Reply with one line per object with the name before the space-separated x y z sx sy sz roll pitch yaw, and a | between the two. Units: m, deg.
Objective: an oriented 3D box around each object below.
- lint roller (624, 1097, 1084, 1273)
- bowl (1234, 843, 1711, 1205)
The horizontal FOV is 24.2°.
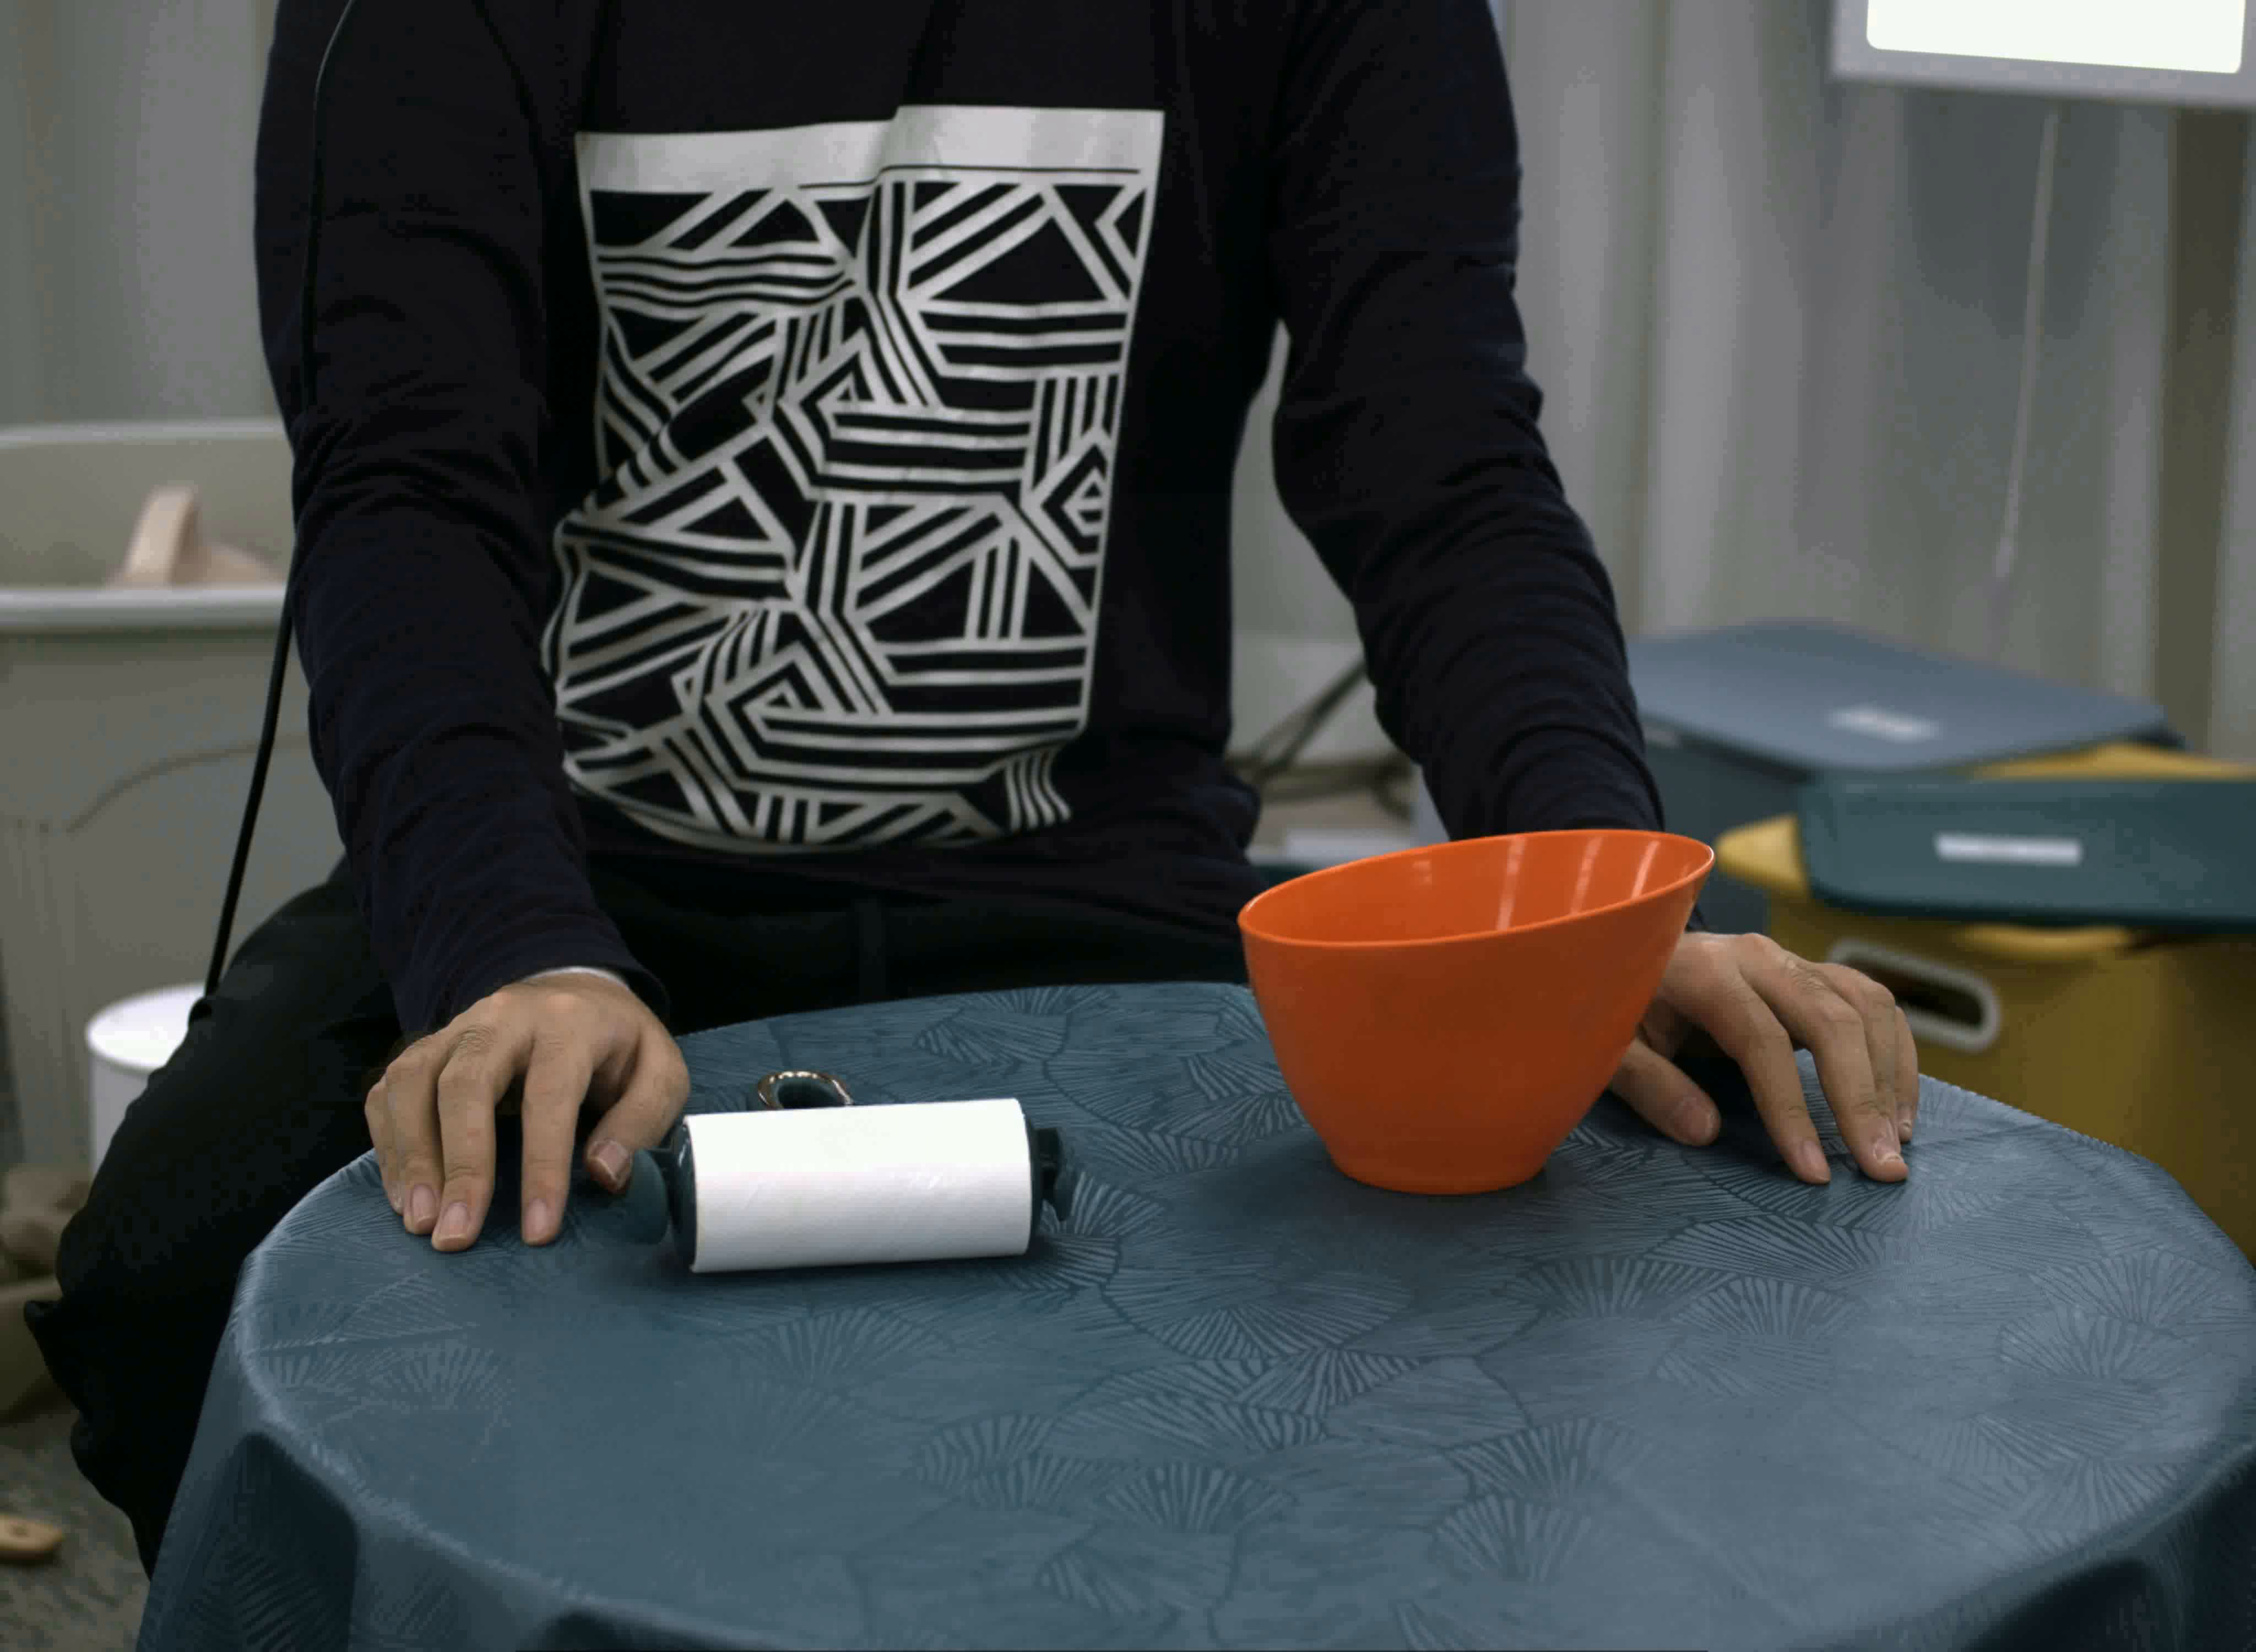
lint roller | -0.094 0.093 1.620 0.134 0.048 0.178 -2 12 -11
bowl | 0.106 0.060 1.635 0.147 0.105 0.147 0 13 1
